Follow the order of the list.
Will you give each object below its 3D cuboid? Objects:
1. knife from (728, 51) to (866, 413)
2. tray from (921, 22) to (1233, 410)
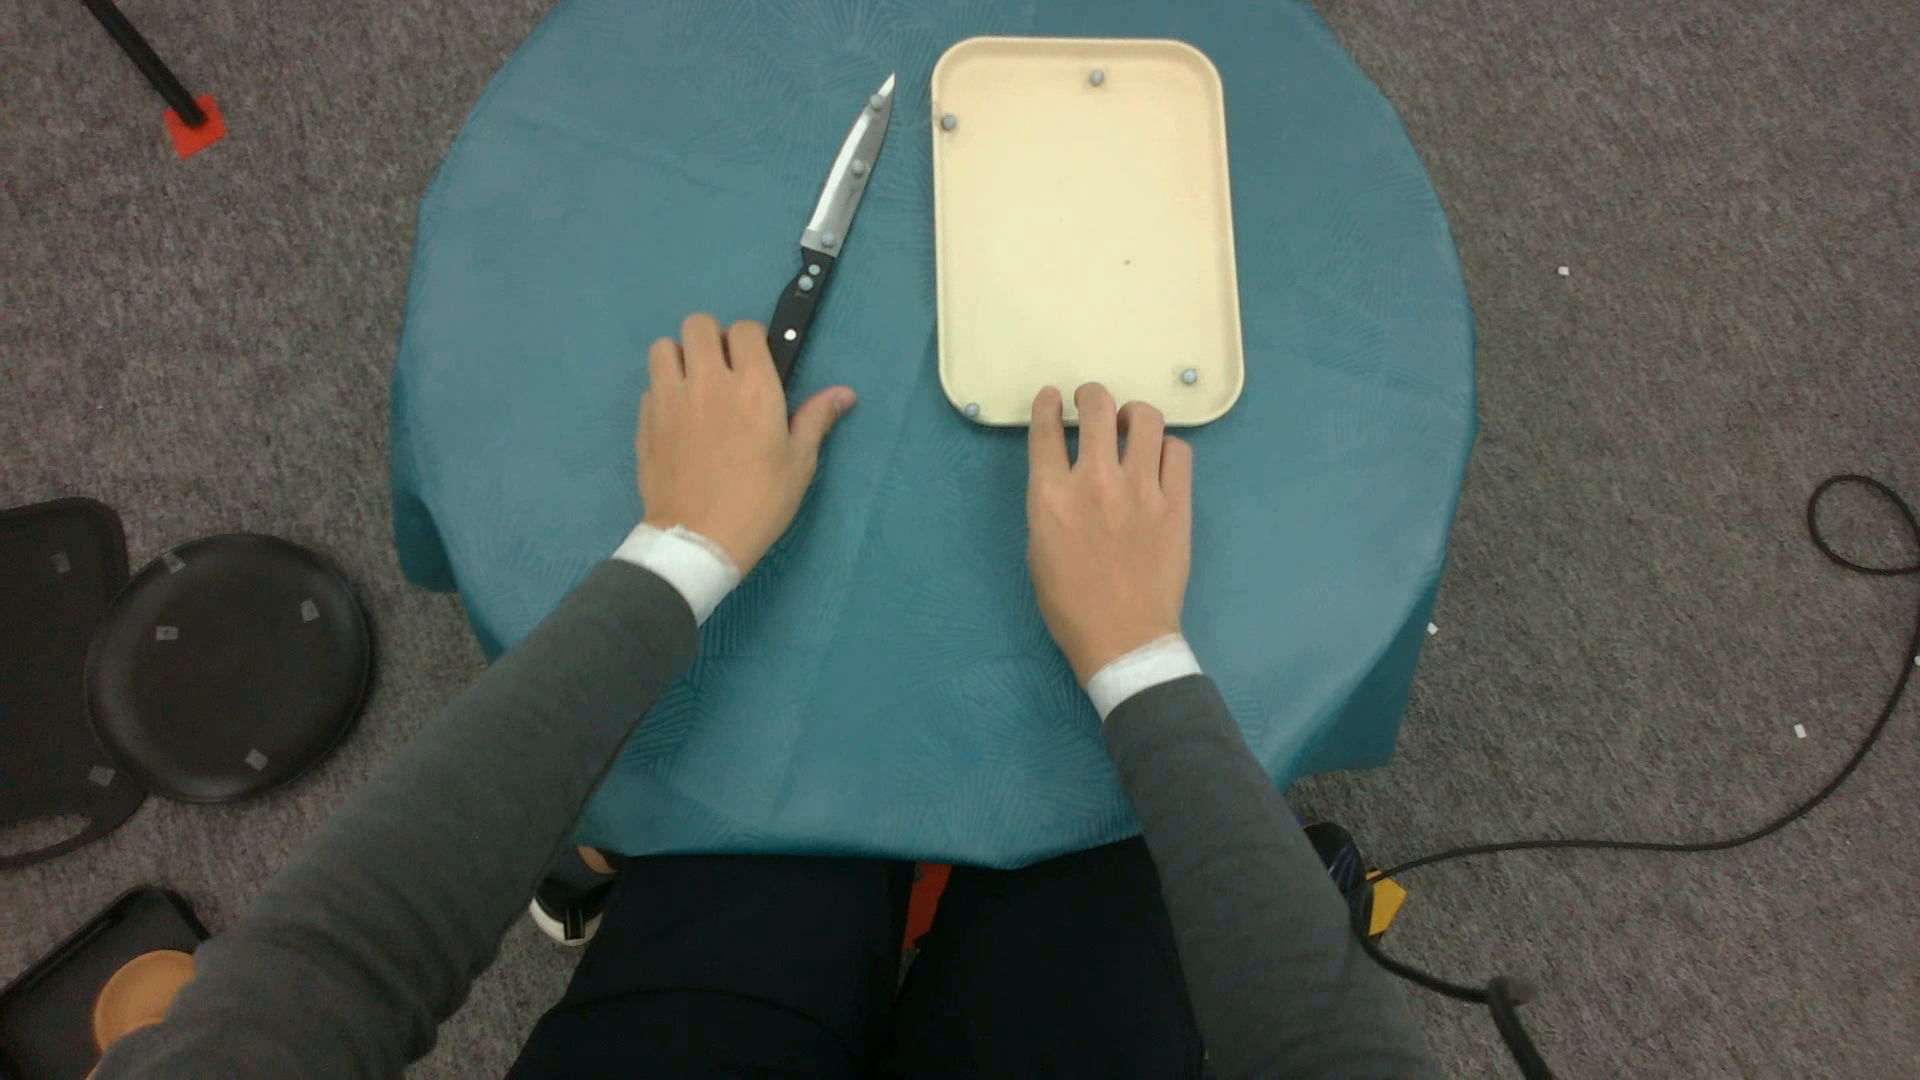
[{"bbox_3d":[-0.085,-0.177,0.773,0.024,0.016,0.239,16,72,-1],"label":"knife"},{"bbox_3d":[0.064,-0.185,0.783,0.171,0.017,0.240,0,75,-5],"label":"tray"}]
